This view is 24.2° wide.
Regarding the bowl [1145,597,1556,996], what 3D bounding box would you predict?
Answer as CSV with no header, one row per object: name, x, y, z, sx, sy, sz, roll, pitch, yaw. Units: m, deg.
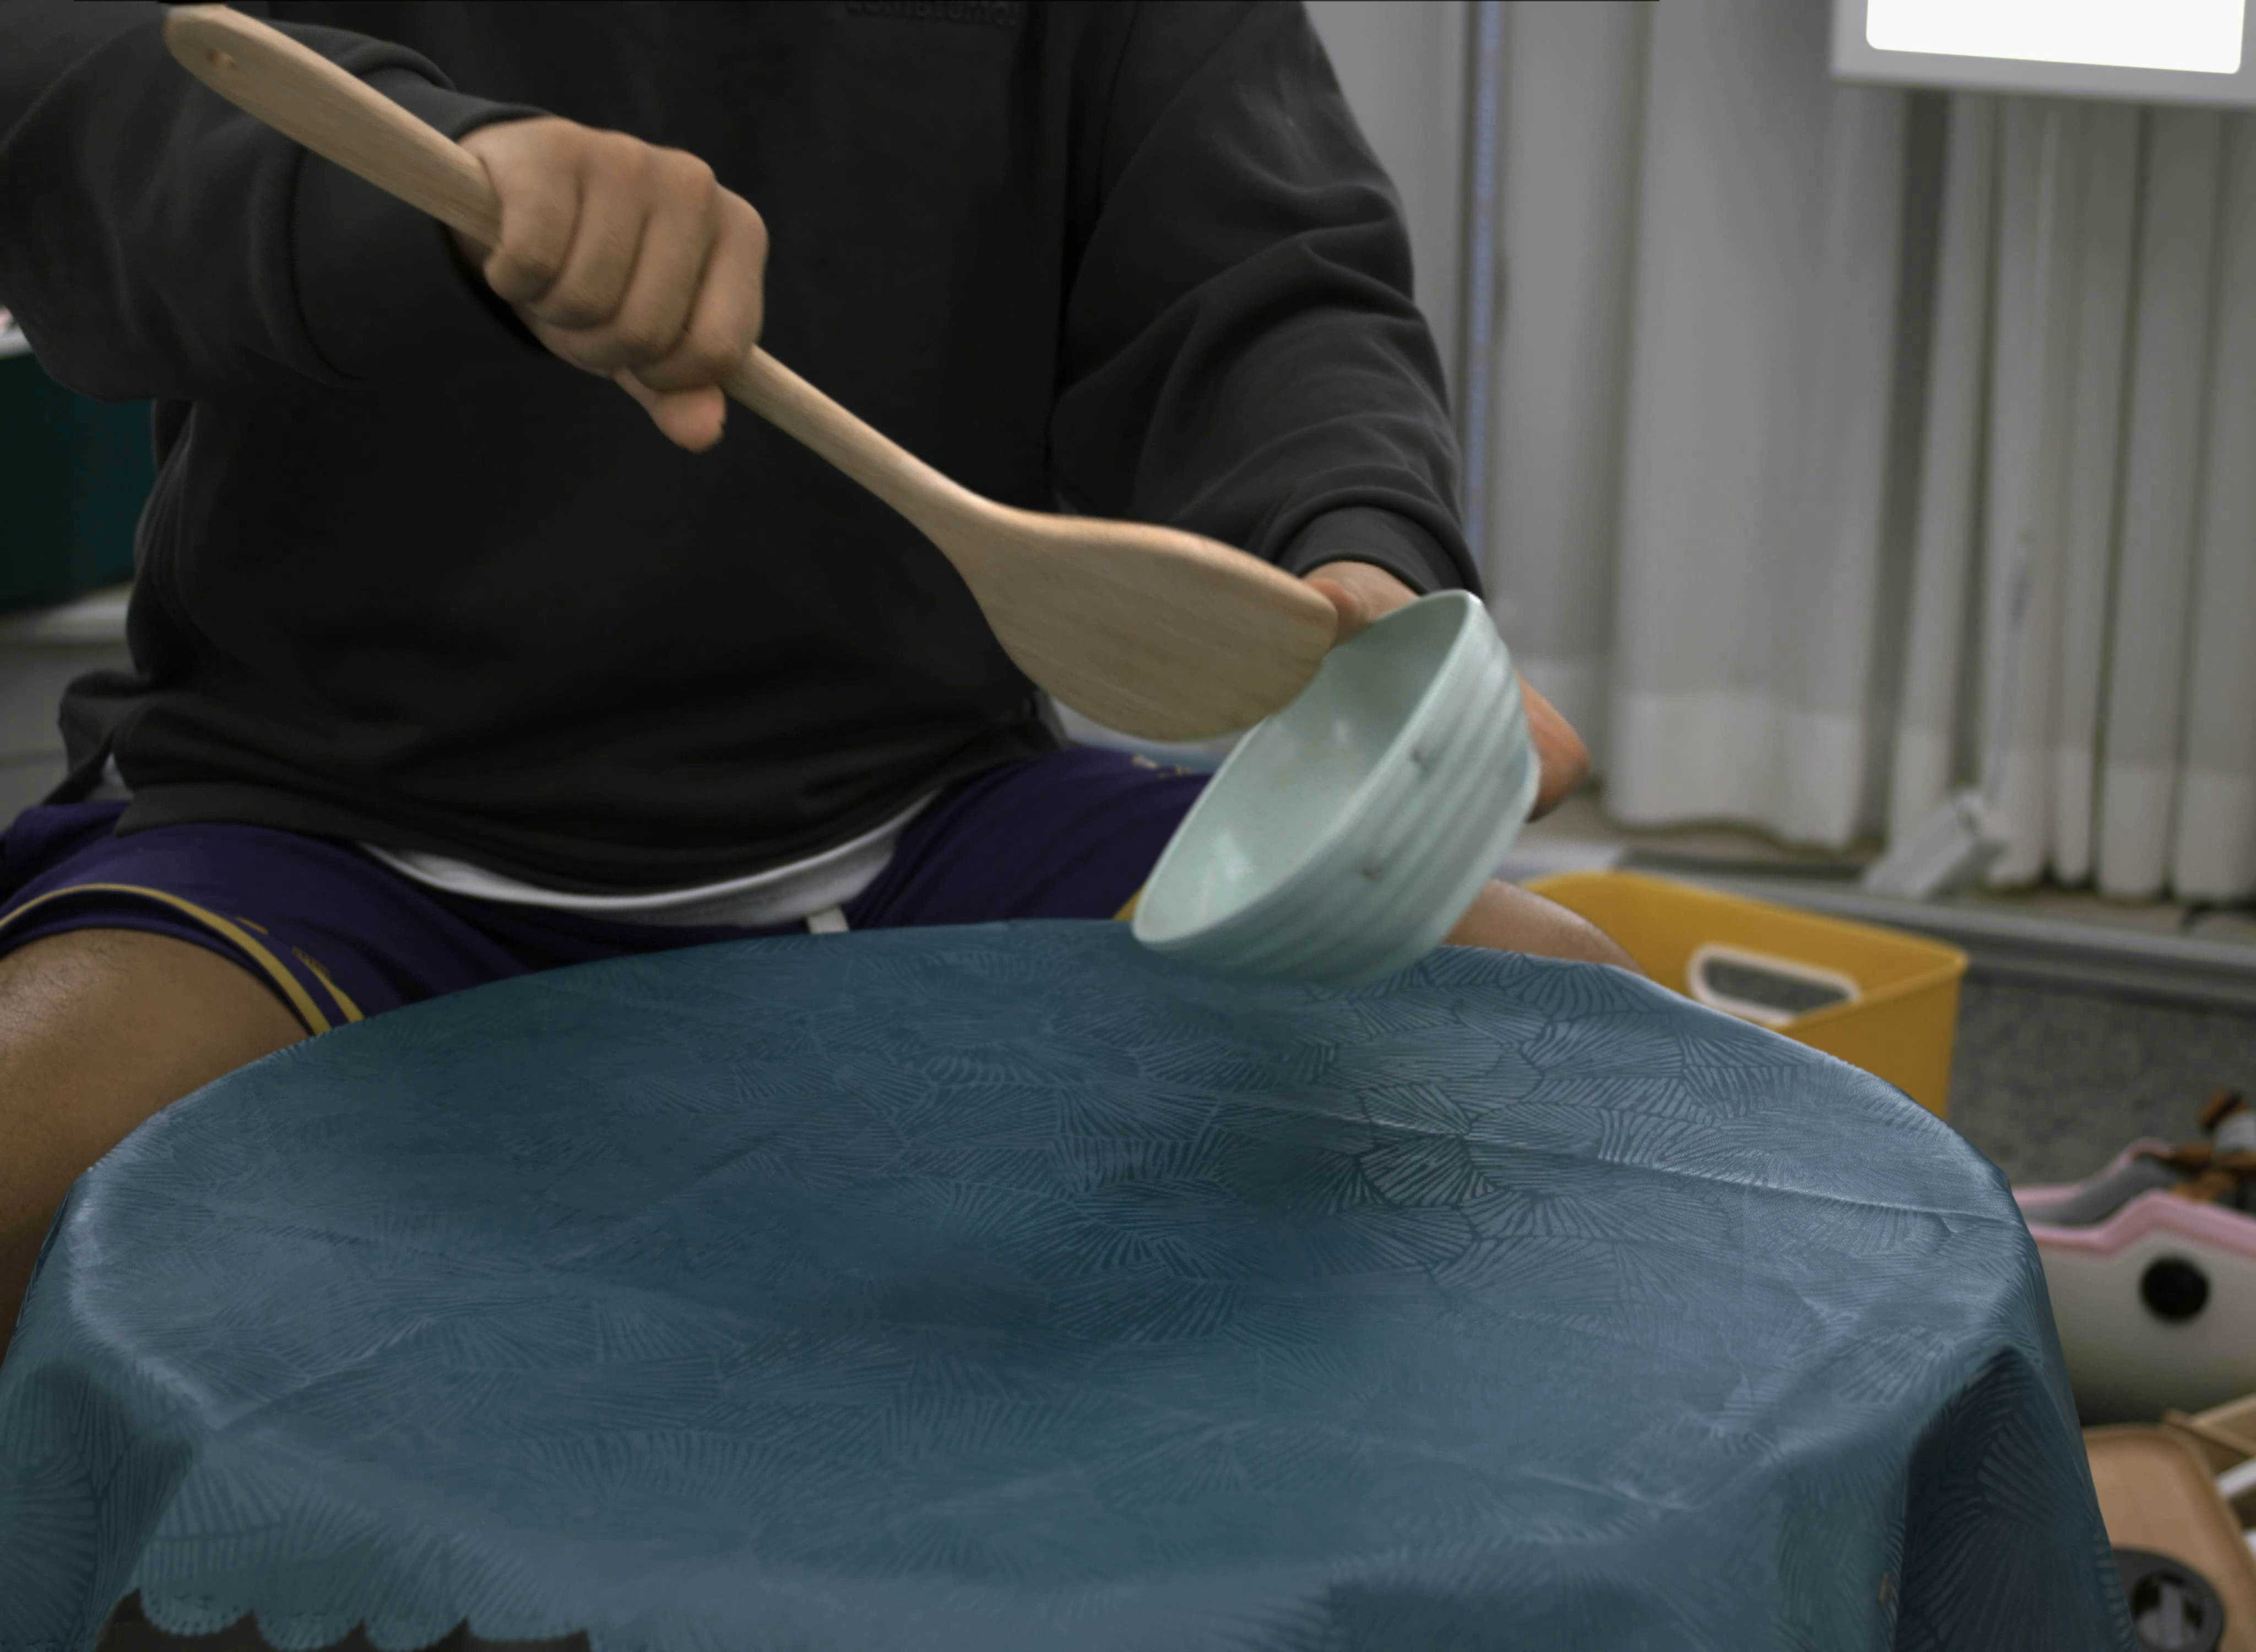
bowl,0.078,0.001,1.623,0.059,0.151,0.150,42,6,-17

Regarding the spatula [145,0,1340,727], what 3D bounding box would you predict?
spatula,-0.111,-0.141,1.530,0.393,0.096,0.018,32,46,-16
